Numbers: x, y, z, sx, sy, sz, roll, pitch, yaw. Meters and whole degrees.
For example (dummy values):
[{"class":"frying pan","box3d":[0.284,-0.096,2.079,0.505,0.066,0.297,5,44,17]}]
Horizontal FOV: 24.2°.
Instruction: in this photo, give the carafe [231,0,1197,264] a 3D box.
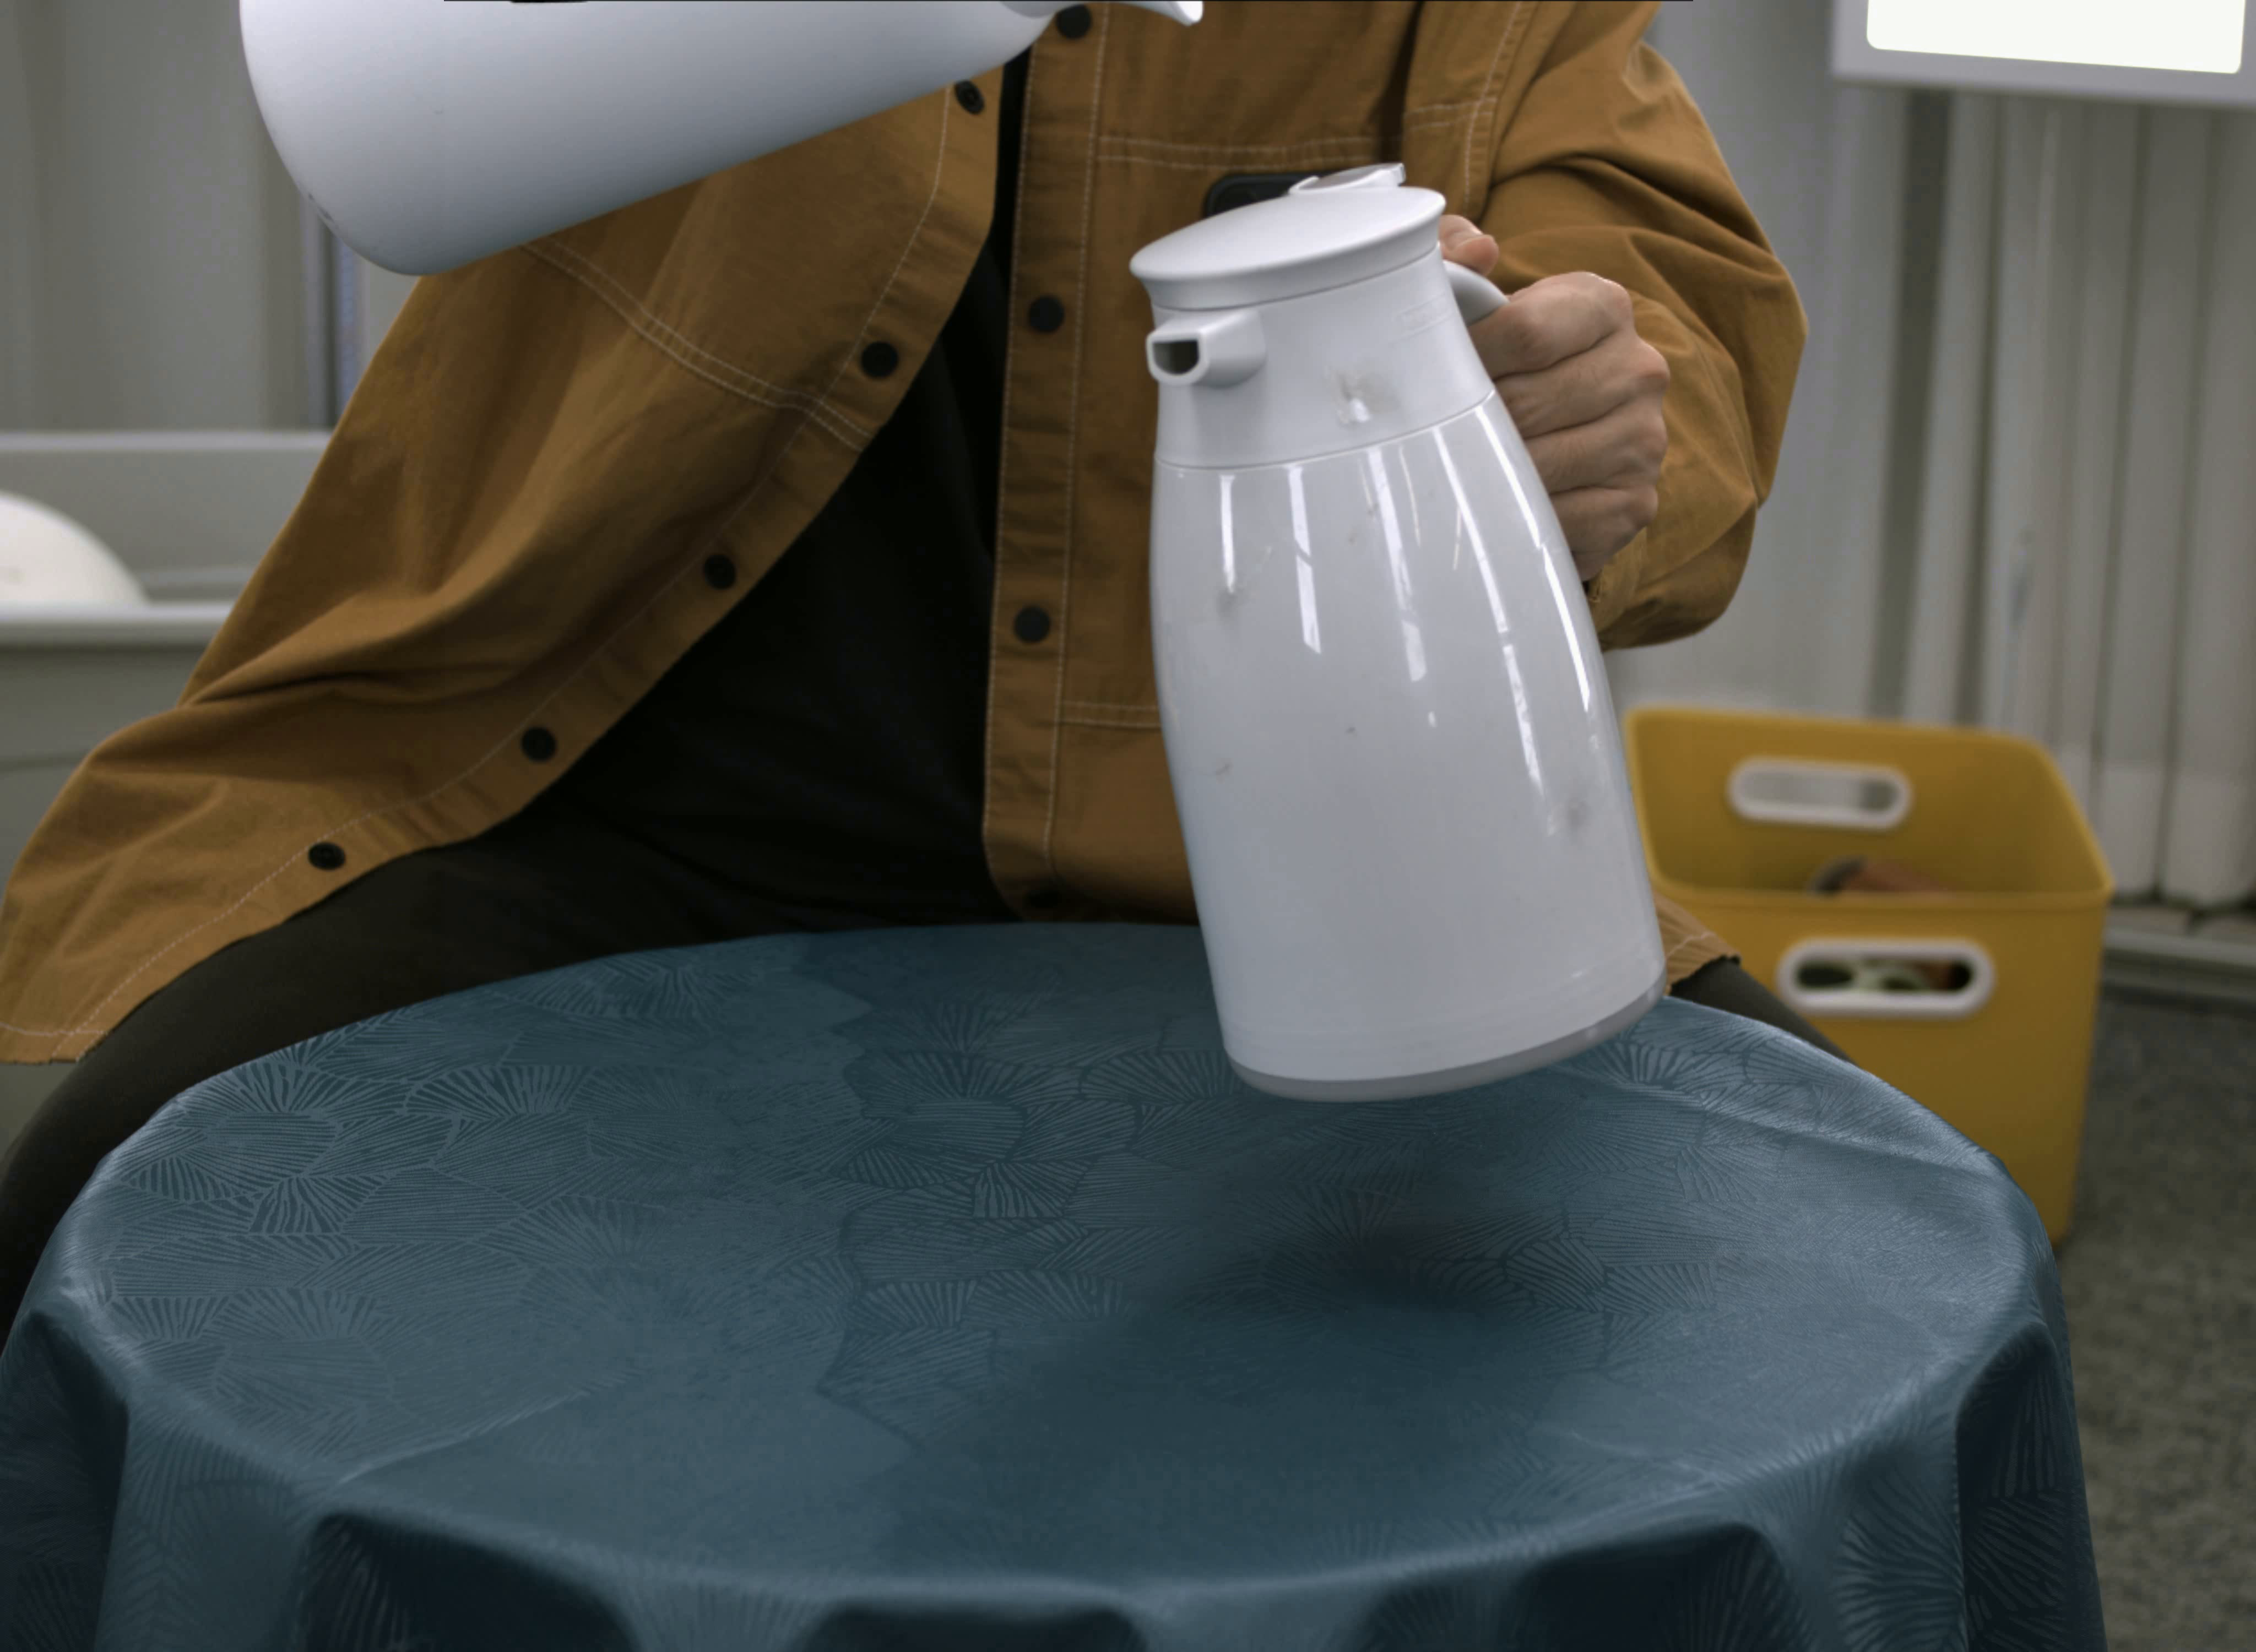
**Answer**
[{"class":"carafe","box3d":[-0.123,-0.267,1.485,0.267,0.175,0.123,-16,24,25]}]

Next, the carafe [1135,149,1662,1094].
[{"class":"carafe","box3d":[0.078,-0.067,1.526,0.131,0.251,0.168,0,19,36]}]
